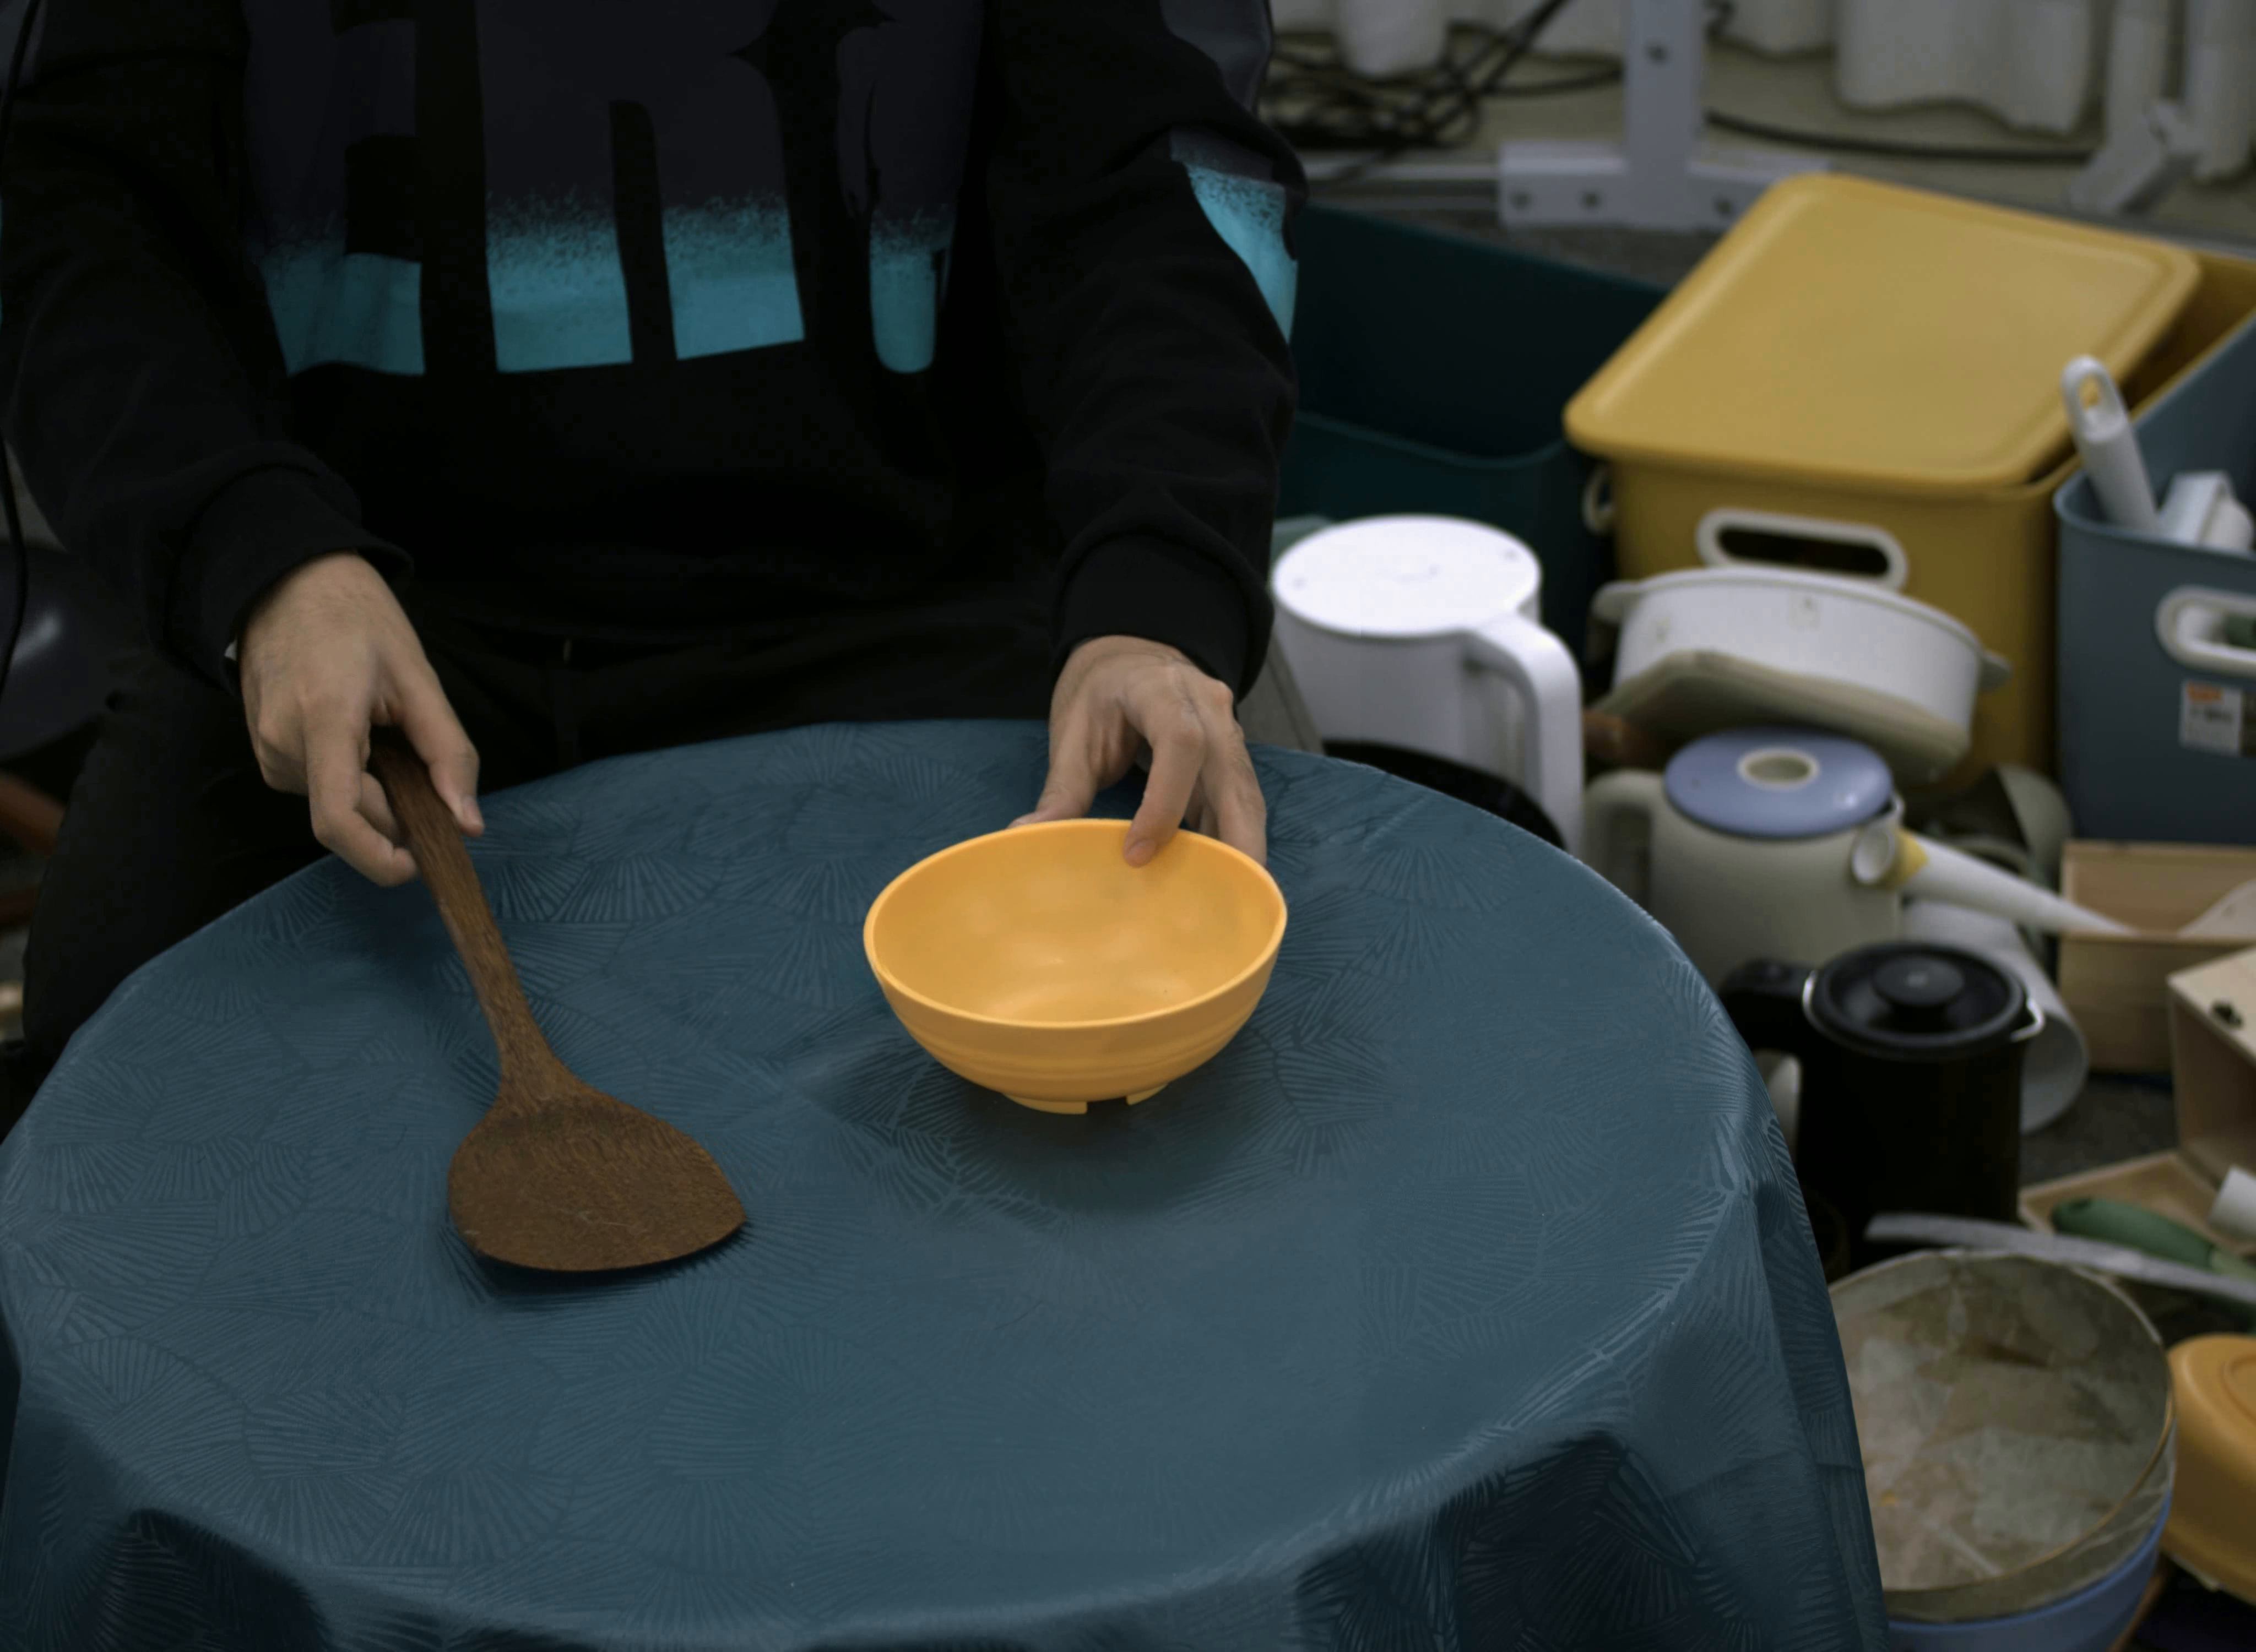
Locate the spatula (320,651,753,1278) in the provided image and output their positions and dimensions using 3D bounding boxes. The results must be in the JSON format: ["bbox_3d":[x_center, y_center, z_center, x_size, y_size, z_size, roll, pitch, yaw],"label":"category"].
[{"bbox_3d":[-0.227,0.040,1.970,0.096,0.015,0.390,-5,35,-21],"label":"spatula"}]

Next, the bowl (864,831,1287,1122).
[{"bbox_3d":[-0.017,0.060,1.924,0.144,0.059,0.147,-1,25,1],"label":"bowl"}]
